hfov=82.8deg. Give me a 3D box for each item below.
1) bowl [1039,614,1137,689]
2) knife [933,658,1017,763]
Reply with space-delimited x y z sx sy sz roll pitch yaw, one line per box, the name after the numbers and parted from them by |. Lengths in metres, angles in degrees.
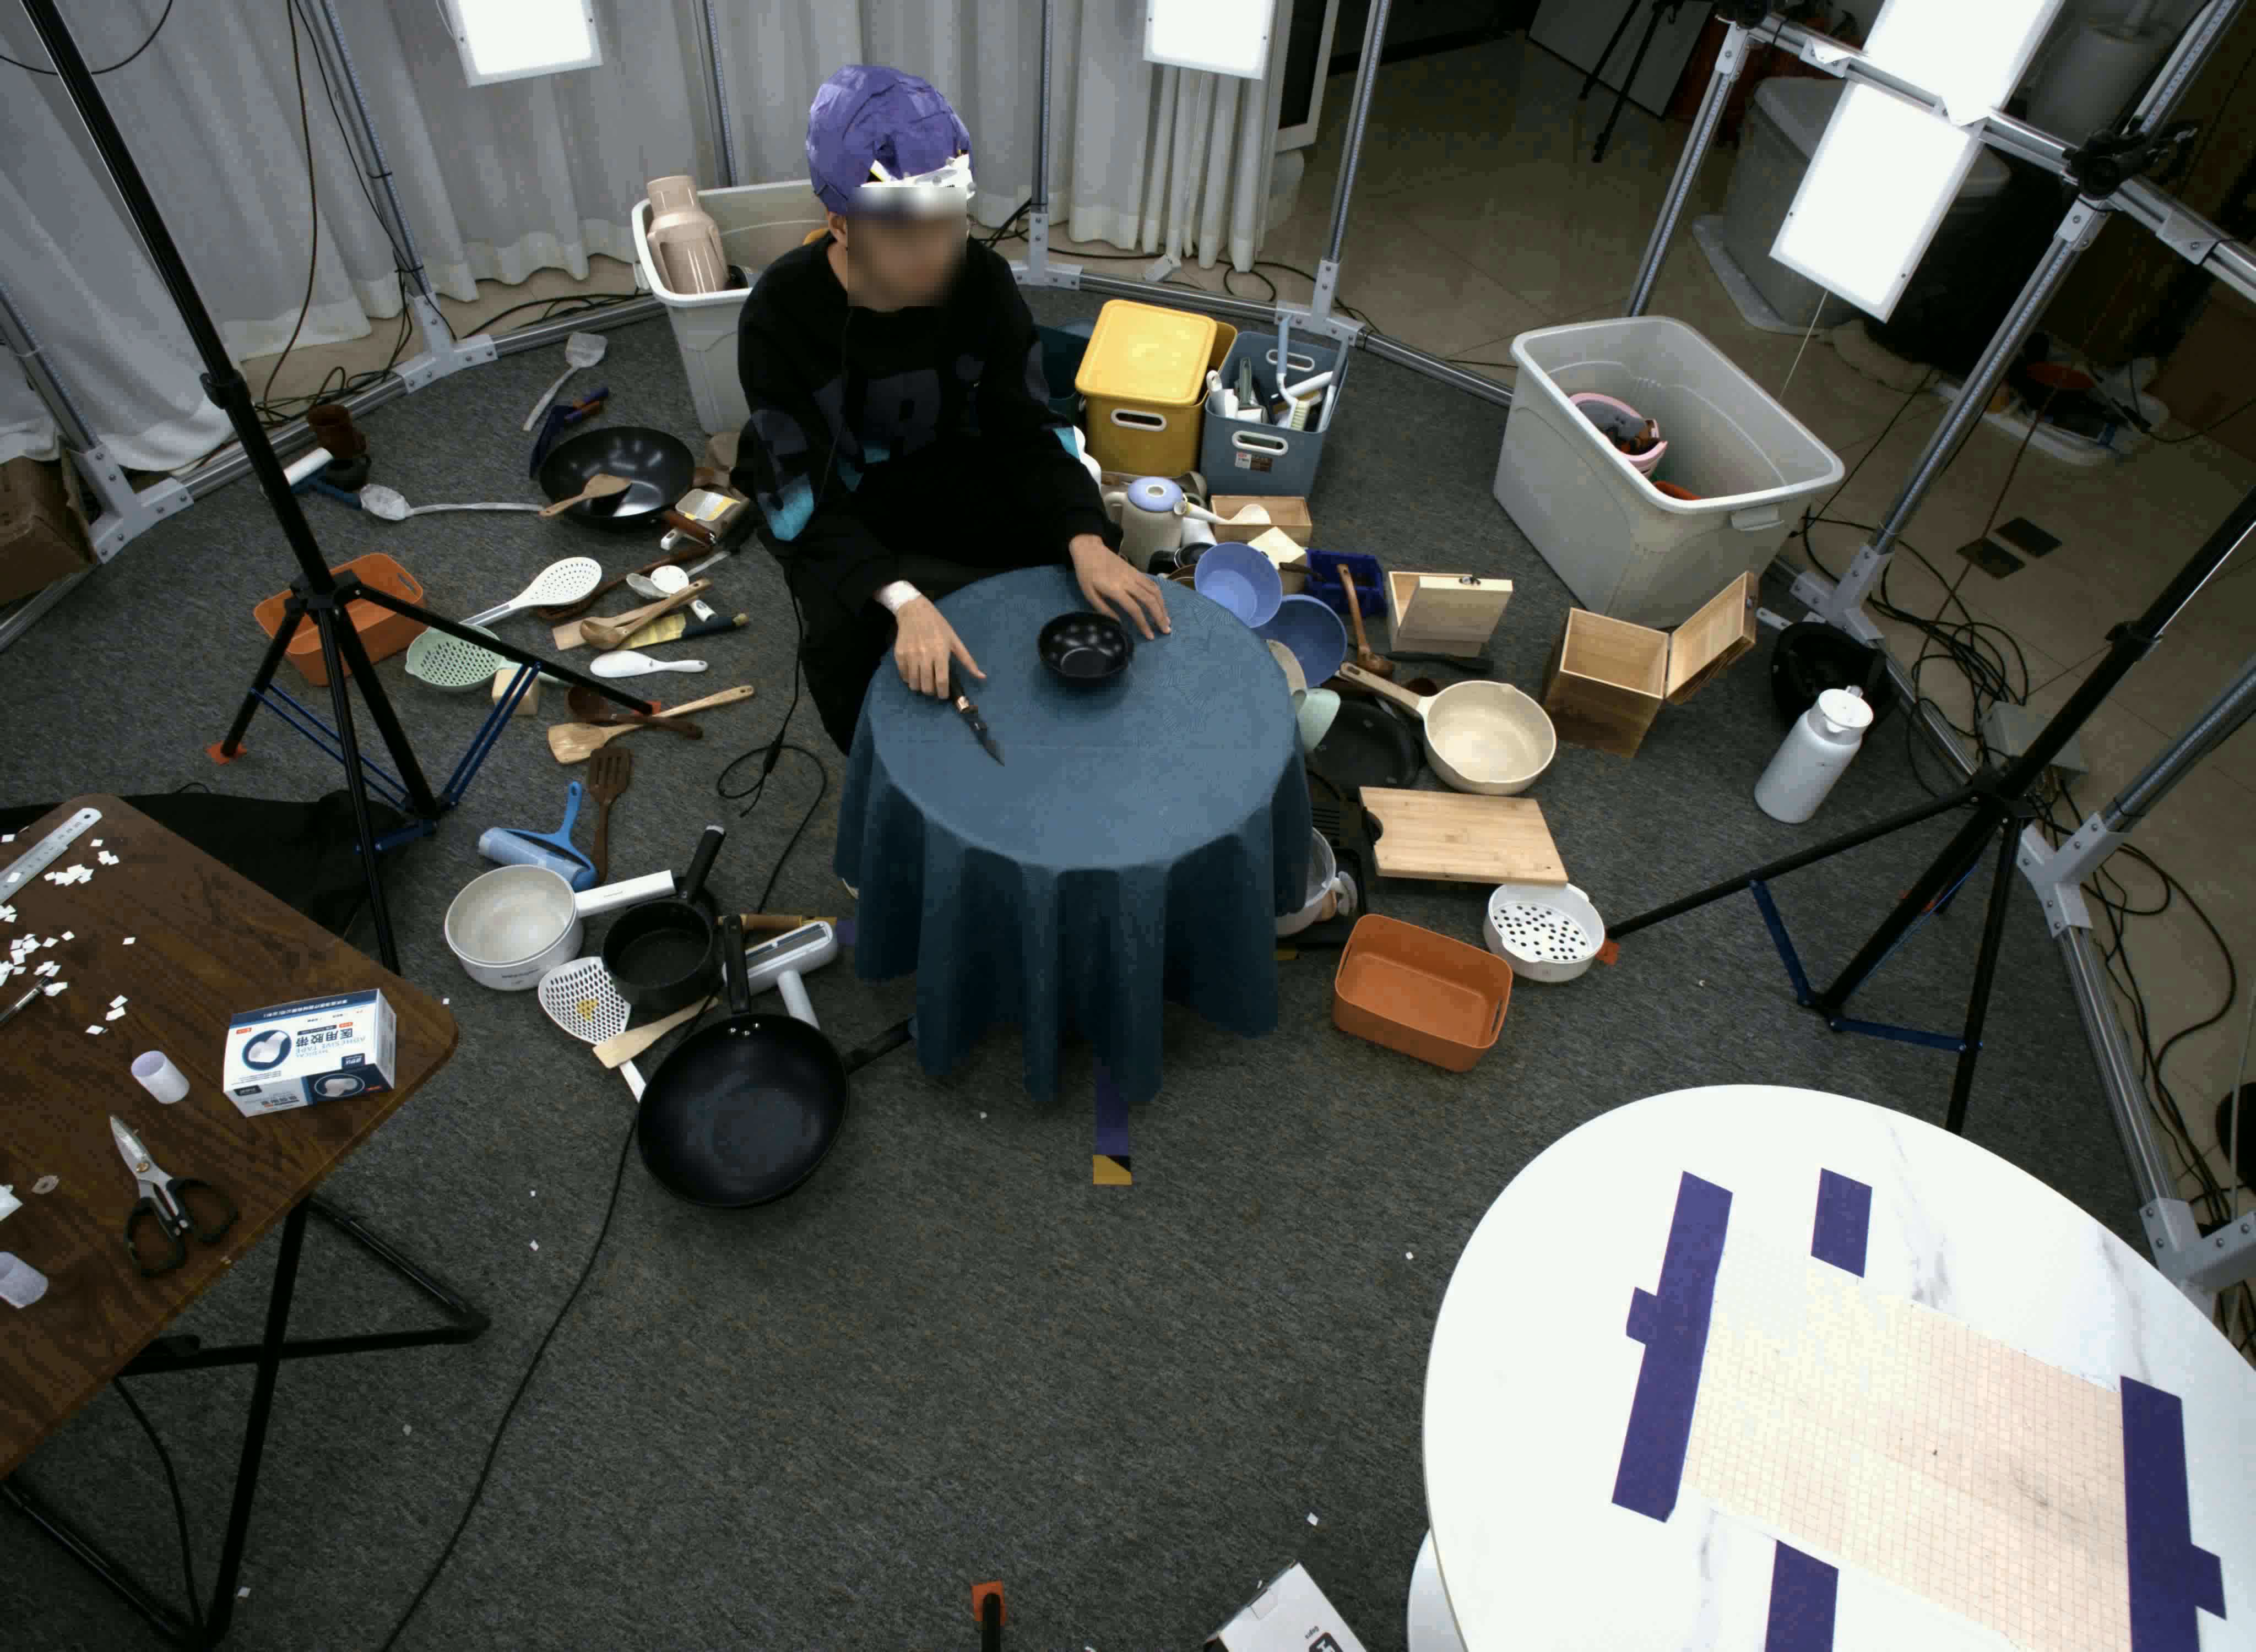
-0.057 -0.243 1.848 0.140 0.048 0.143 0 47 0 | bowl
-0.214 -0.161 1.787 0.026 0.017 0.230 -21 55 -24 | knife
